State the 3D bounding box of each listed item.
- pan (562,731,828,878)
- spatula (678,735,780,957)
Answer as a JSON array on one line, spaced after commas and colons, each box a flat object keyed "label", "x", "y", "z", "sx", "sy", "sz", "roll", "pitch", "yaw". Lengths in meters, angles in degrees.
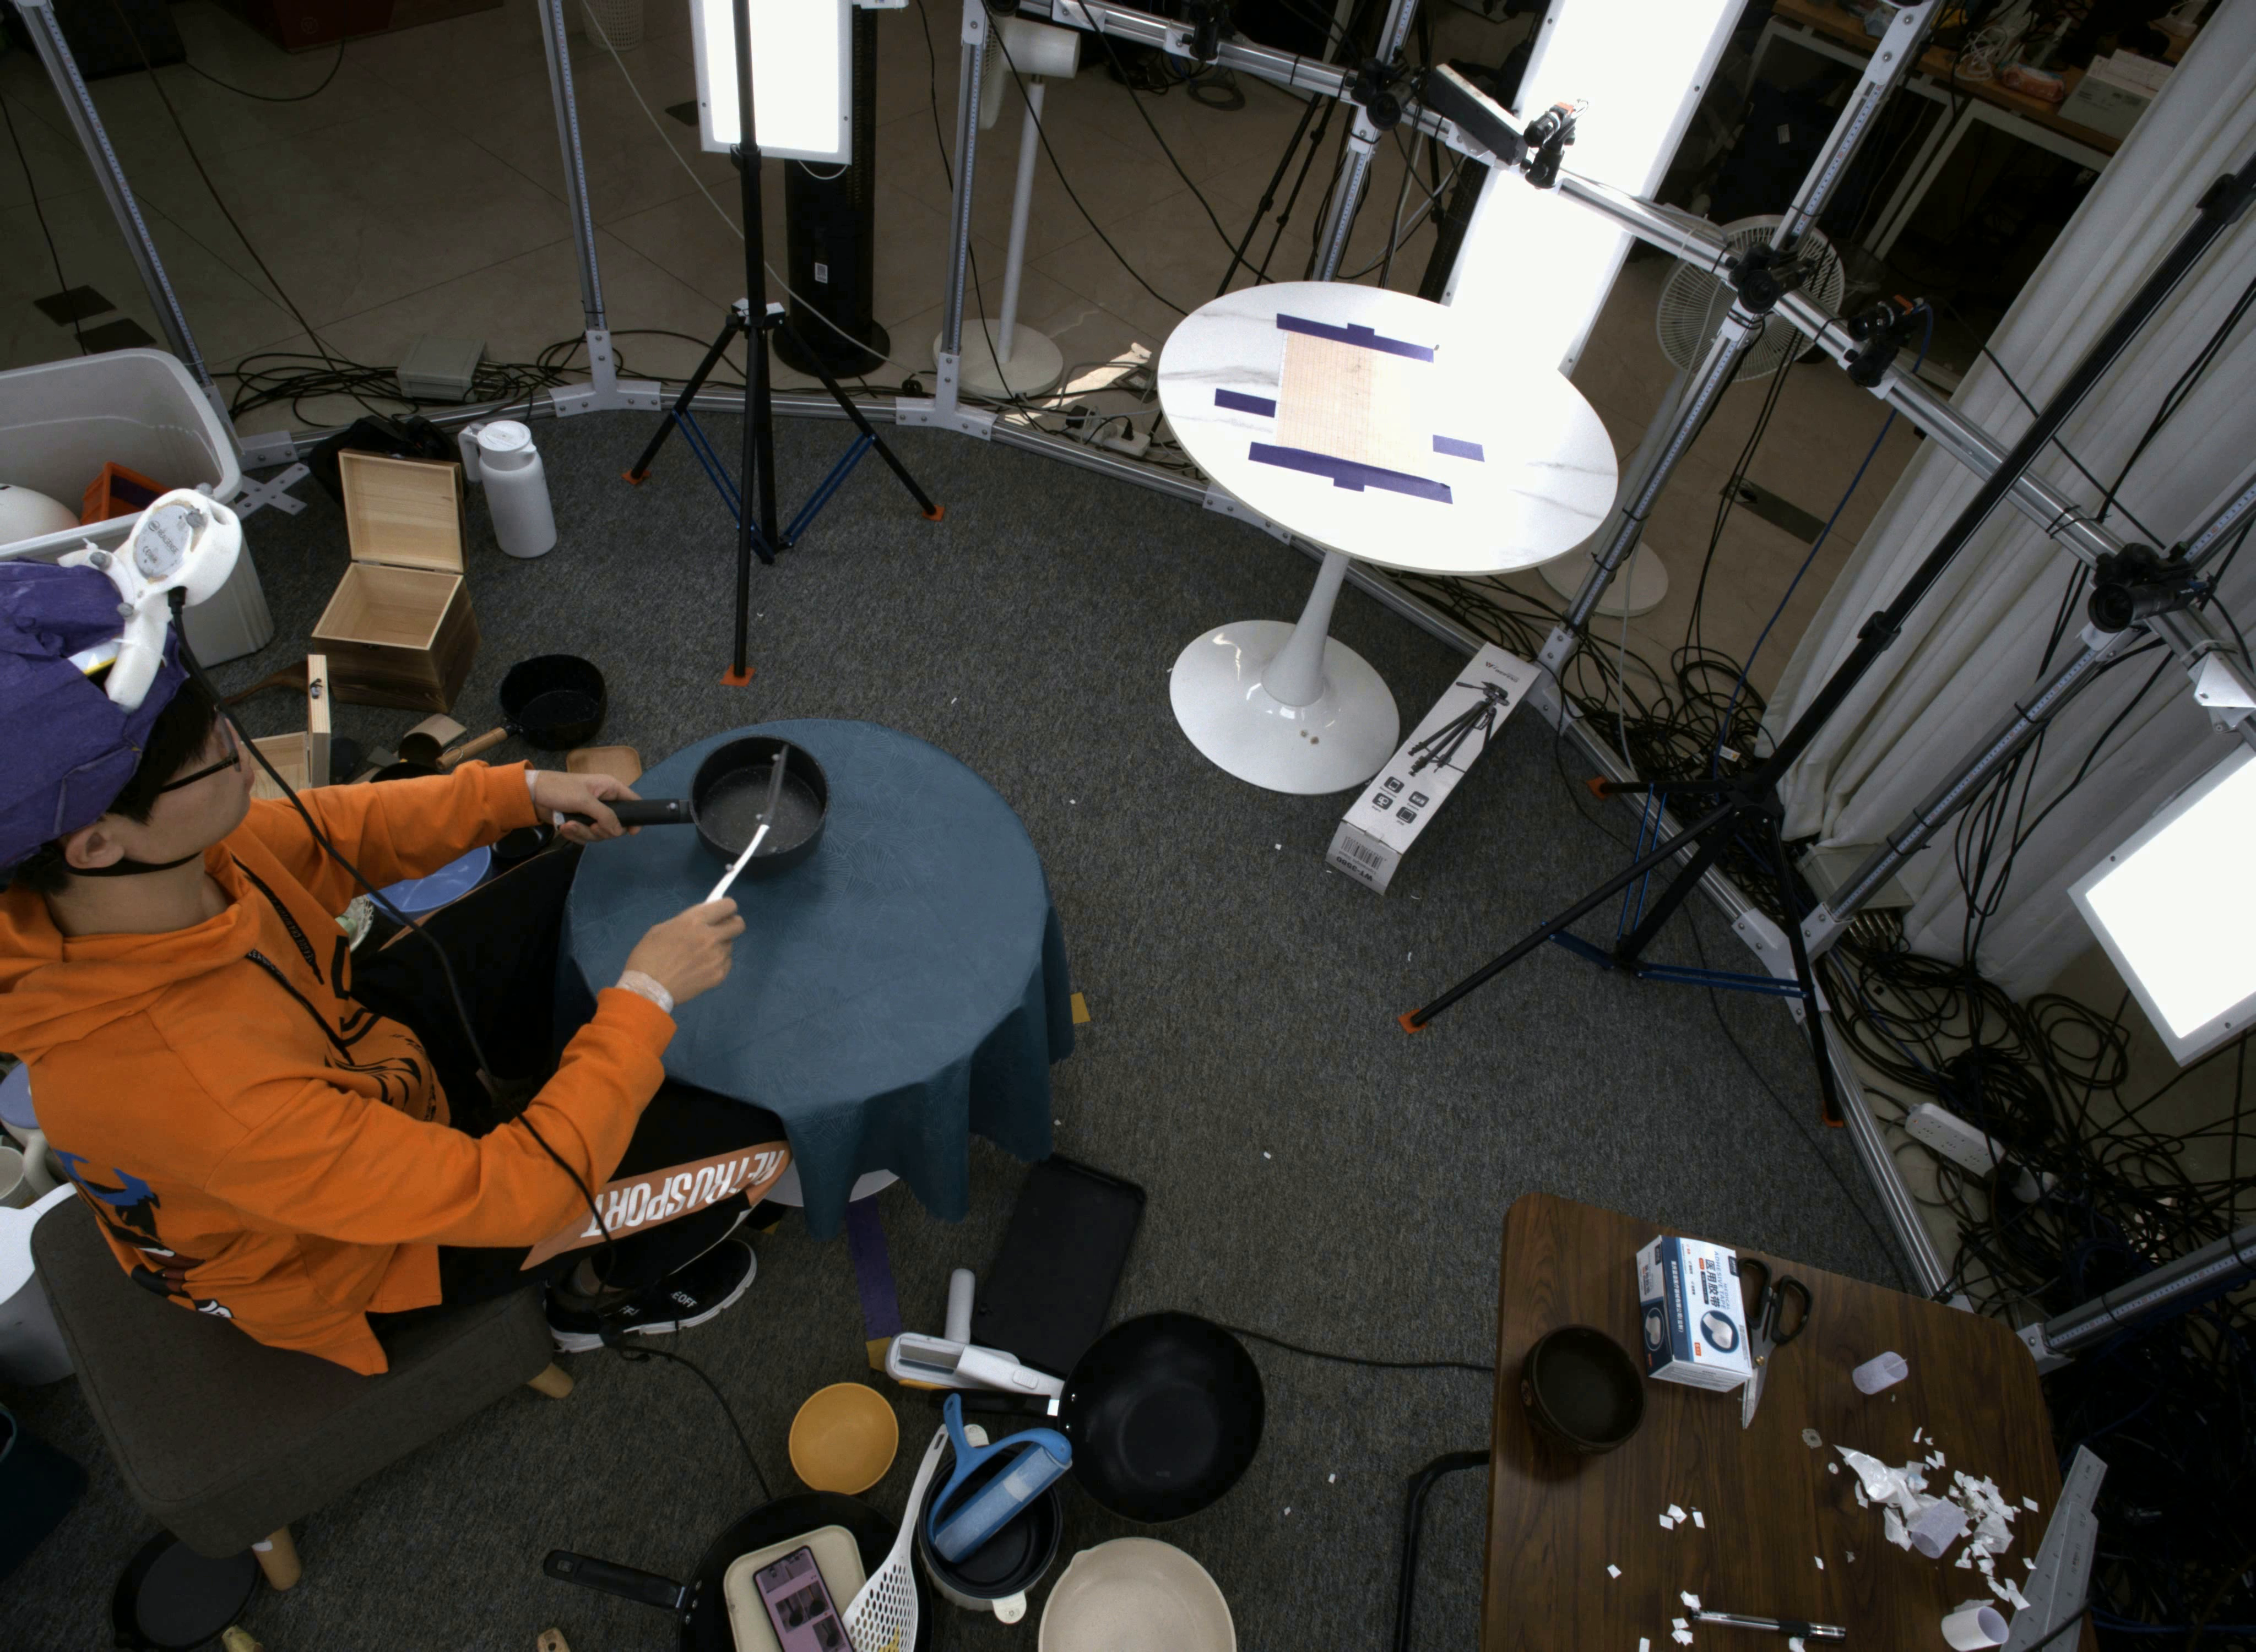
[{"label": "pan", "x": -0.537, "y": -0.019, "z": 1.591, "sx": 0.330, "sy": 0.087, "sz": 0.169, "roll": -4, "pitch": 65, "yaw": -20}, {"label": "spatula", "x": -0.439, "y": 0.018, "z": 1.458, "sx": 0.032, "sy": 0.059, "sz": 0.284, "roll": 21, "pitch": 53, "yaw": -9}]
